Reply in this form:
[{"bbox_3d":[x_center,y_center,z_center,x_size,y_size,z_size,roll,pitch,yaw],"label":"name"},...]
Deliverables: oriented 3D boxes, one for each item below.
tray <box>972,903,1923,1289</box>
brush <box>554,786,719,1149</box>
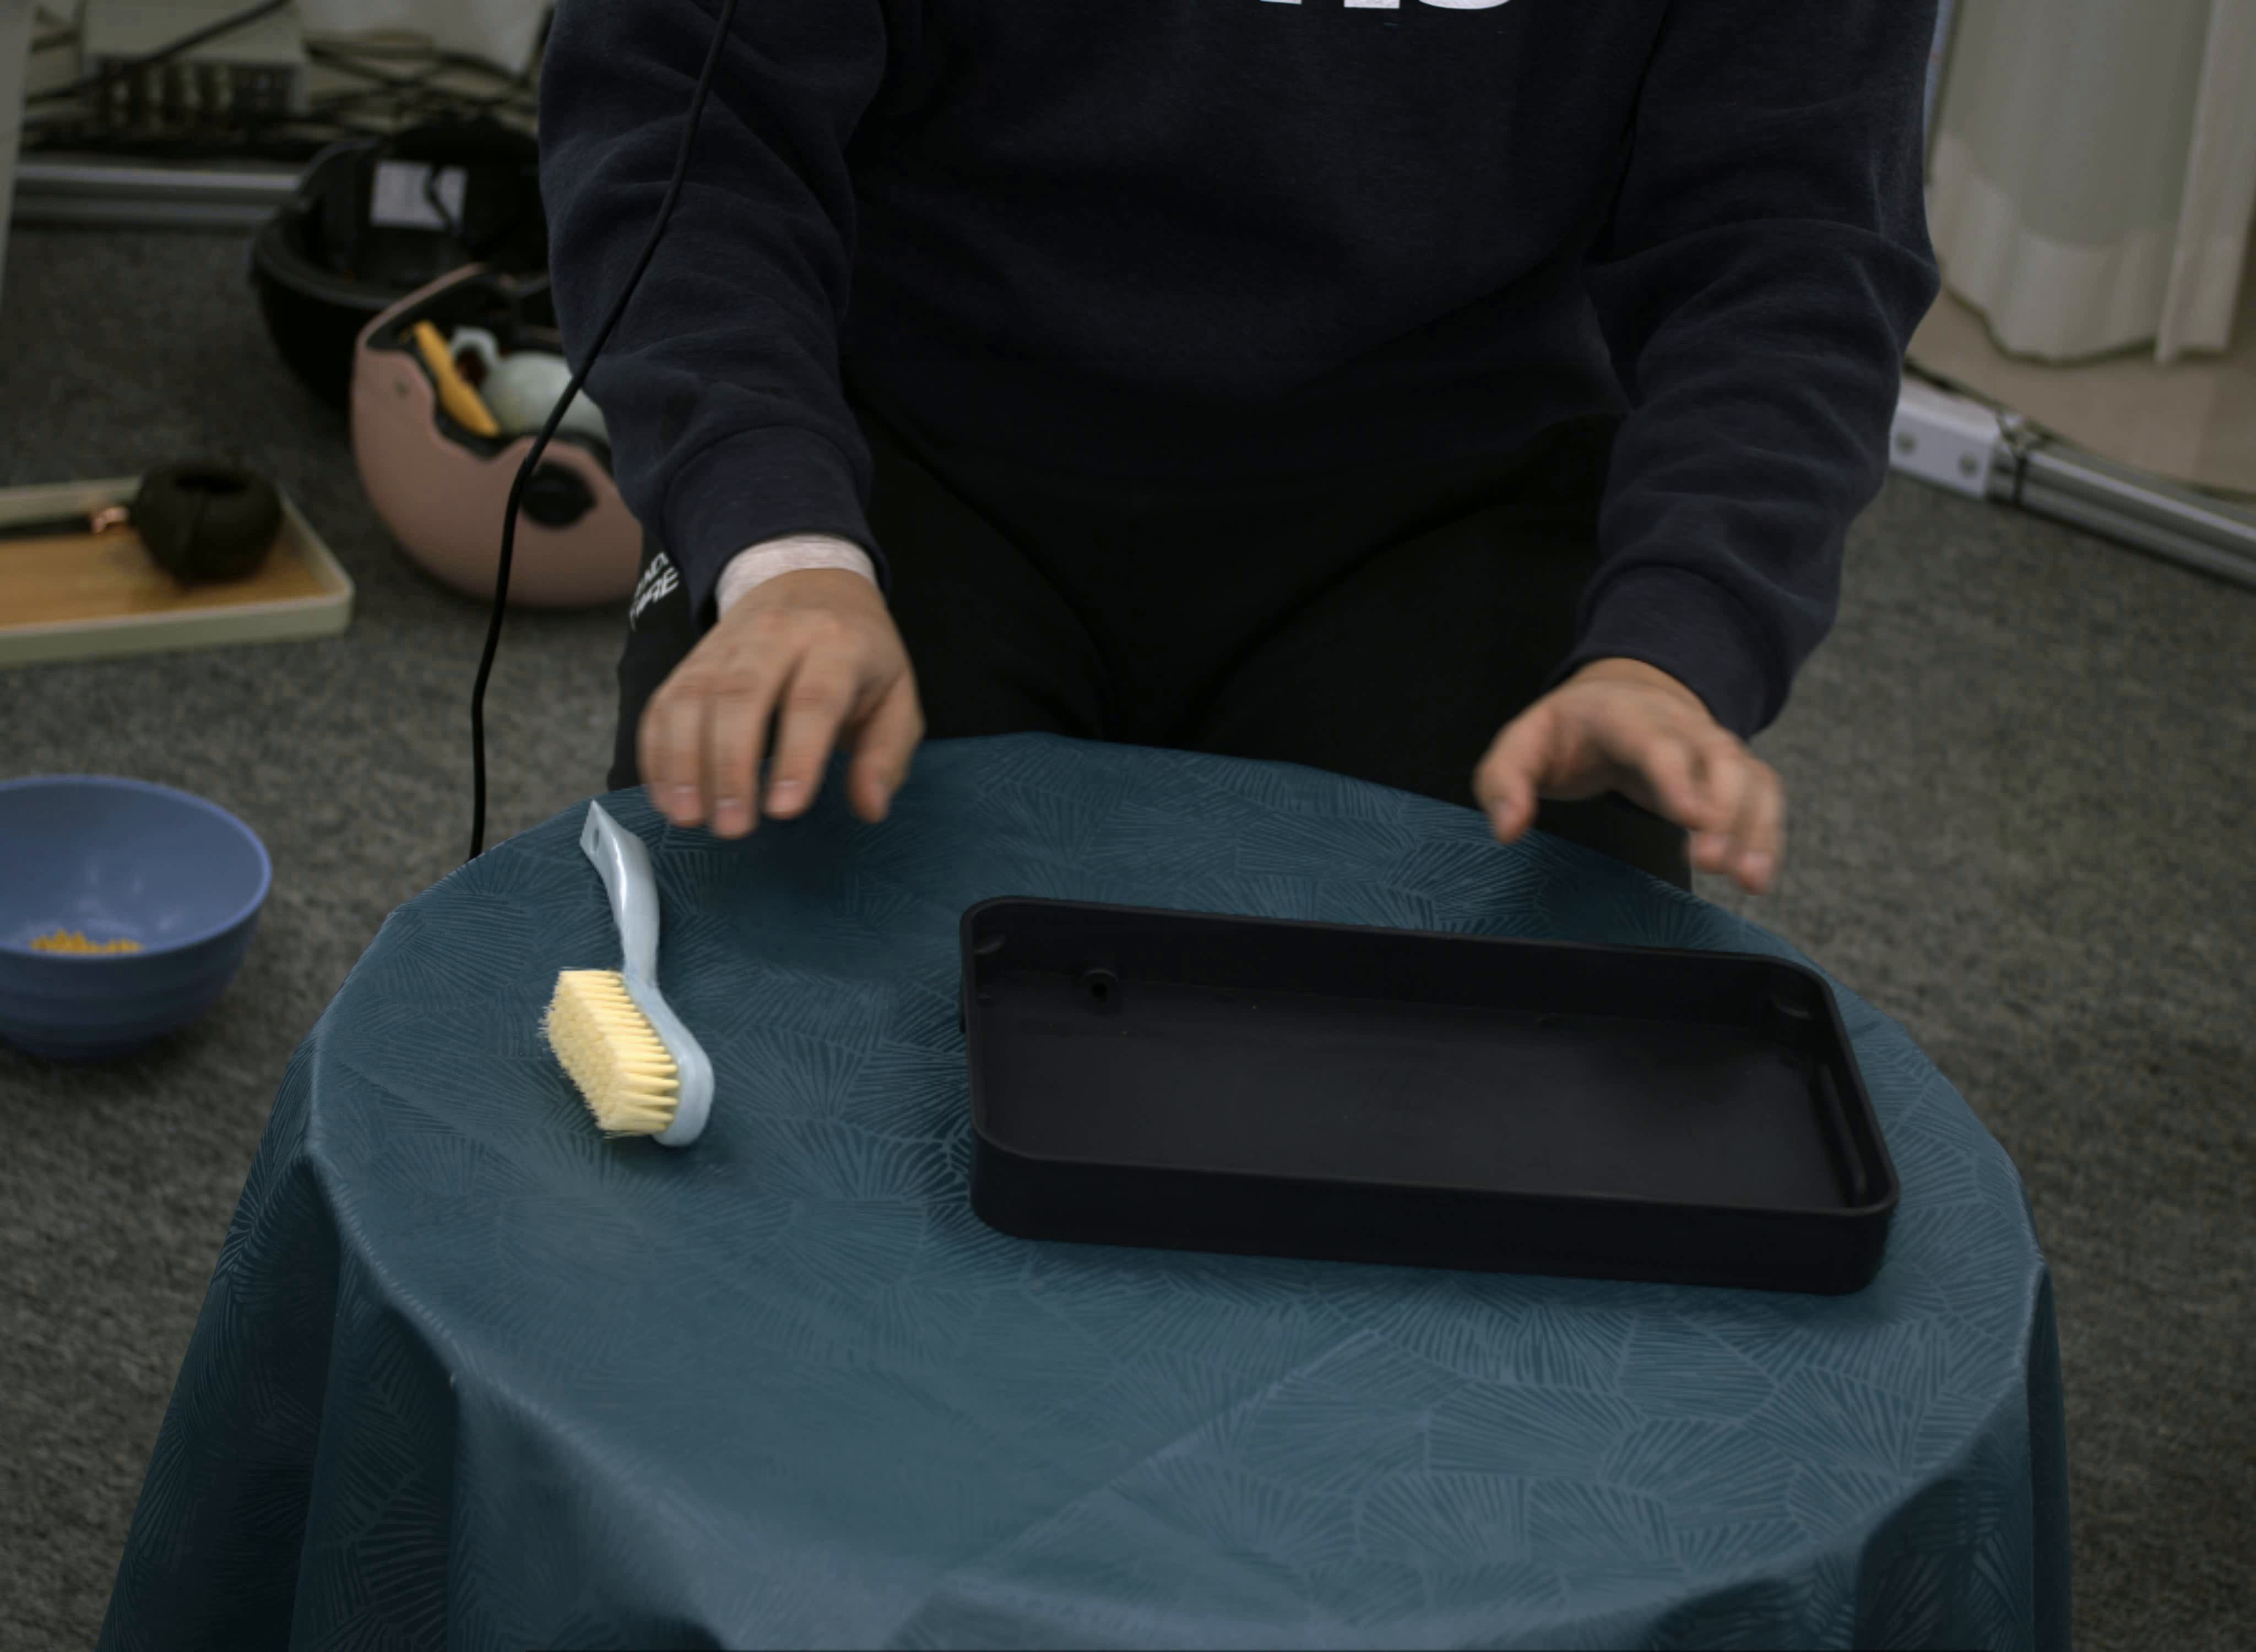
[{"bbox_3d":[0.105,0.093,1.853,0.316,0.037,0.185,3,26,-6],"label":"tray"},{"bbox_3d":[-0.182,0.044,1.877,0.049,0.037,0.230,6,27,-15],"label":"brush"}]
